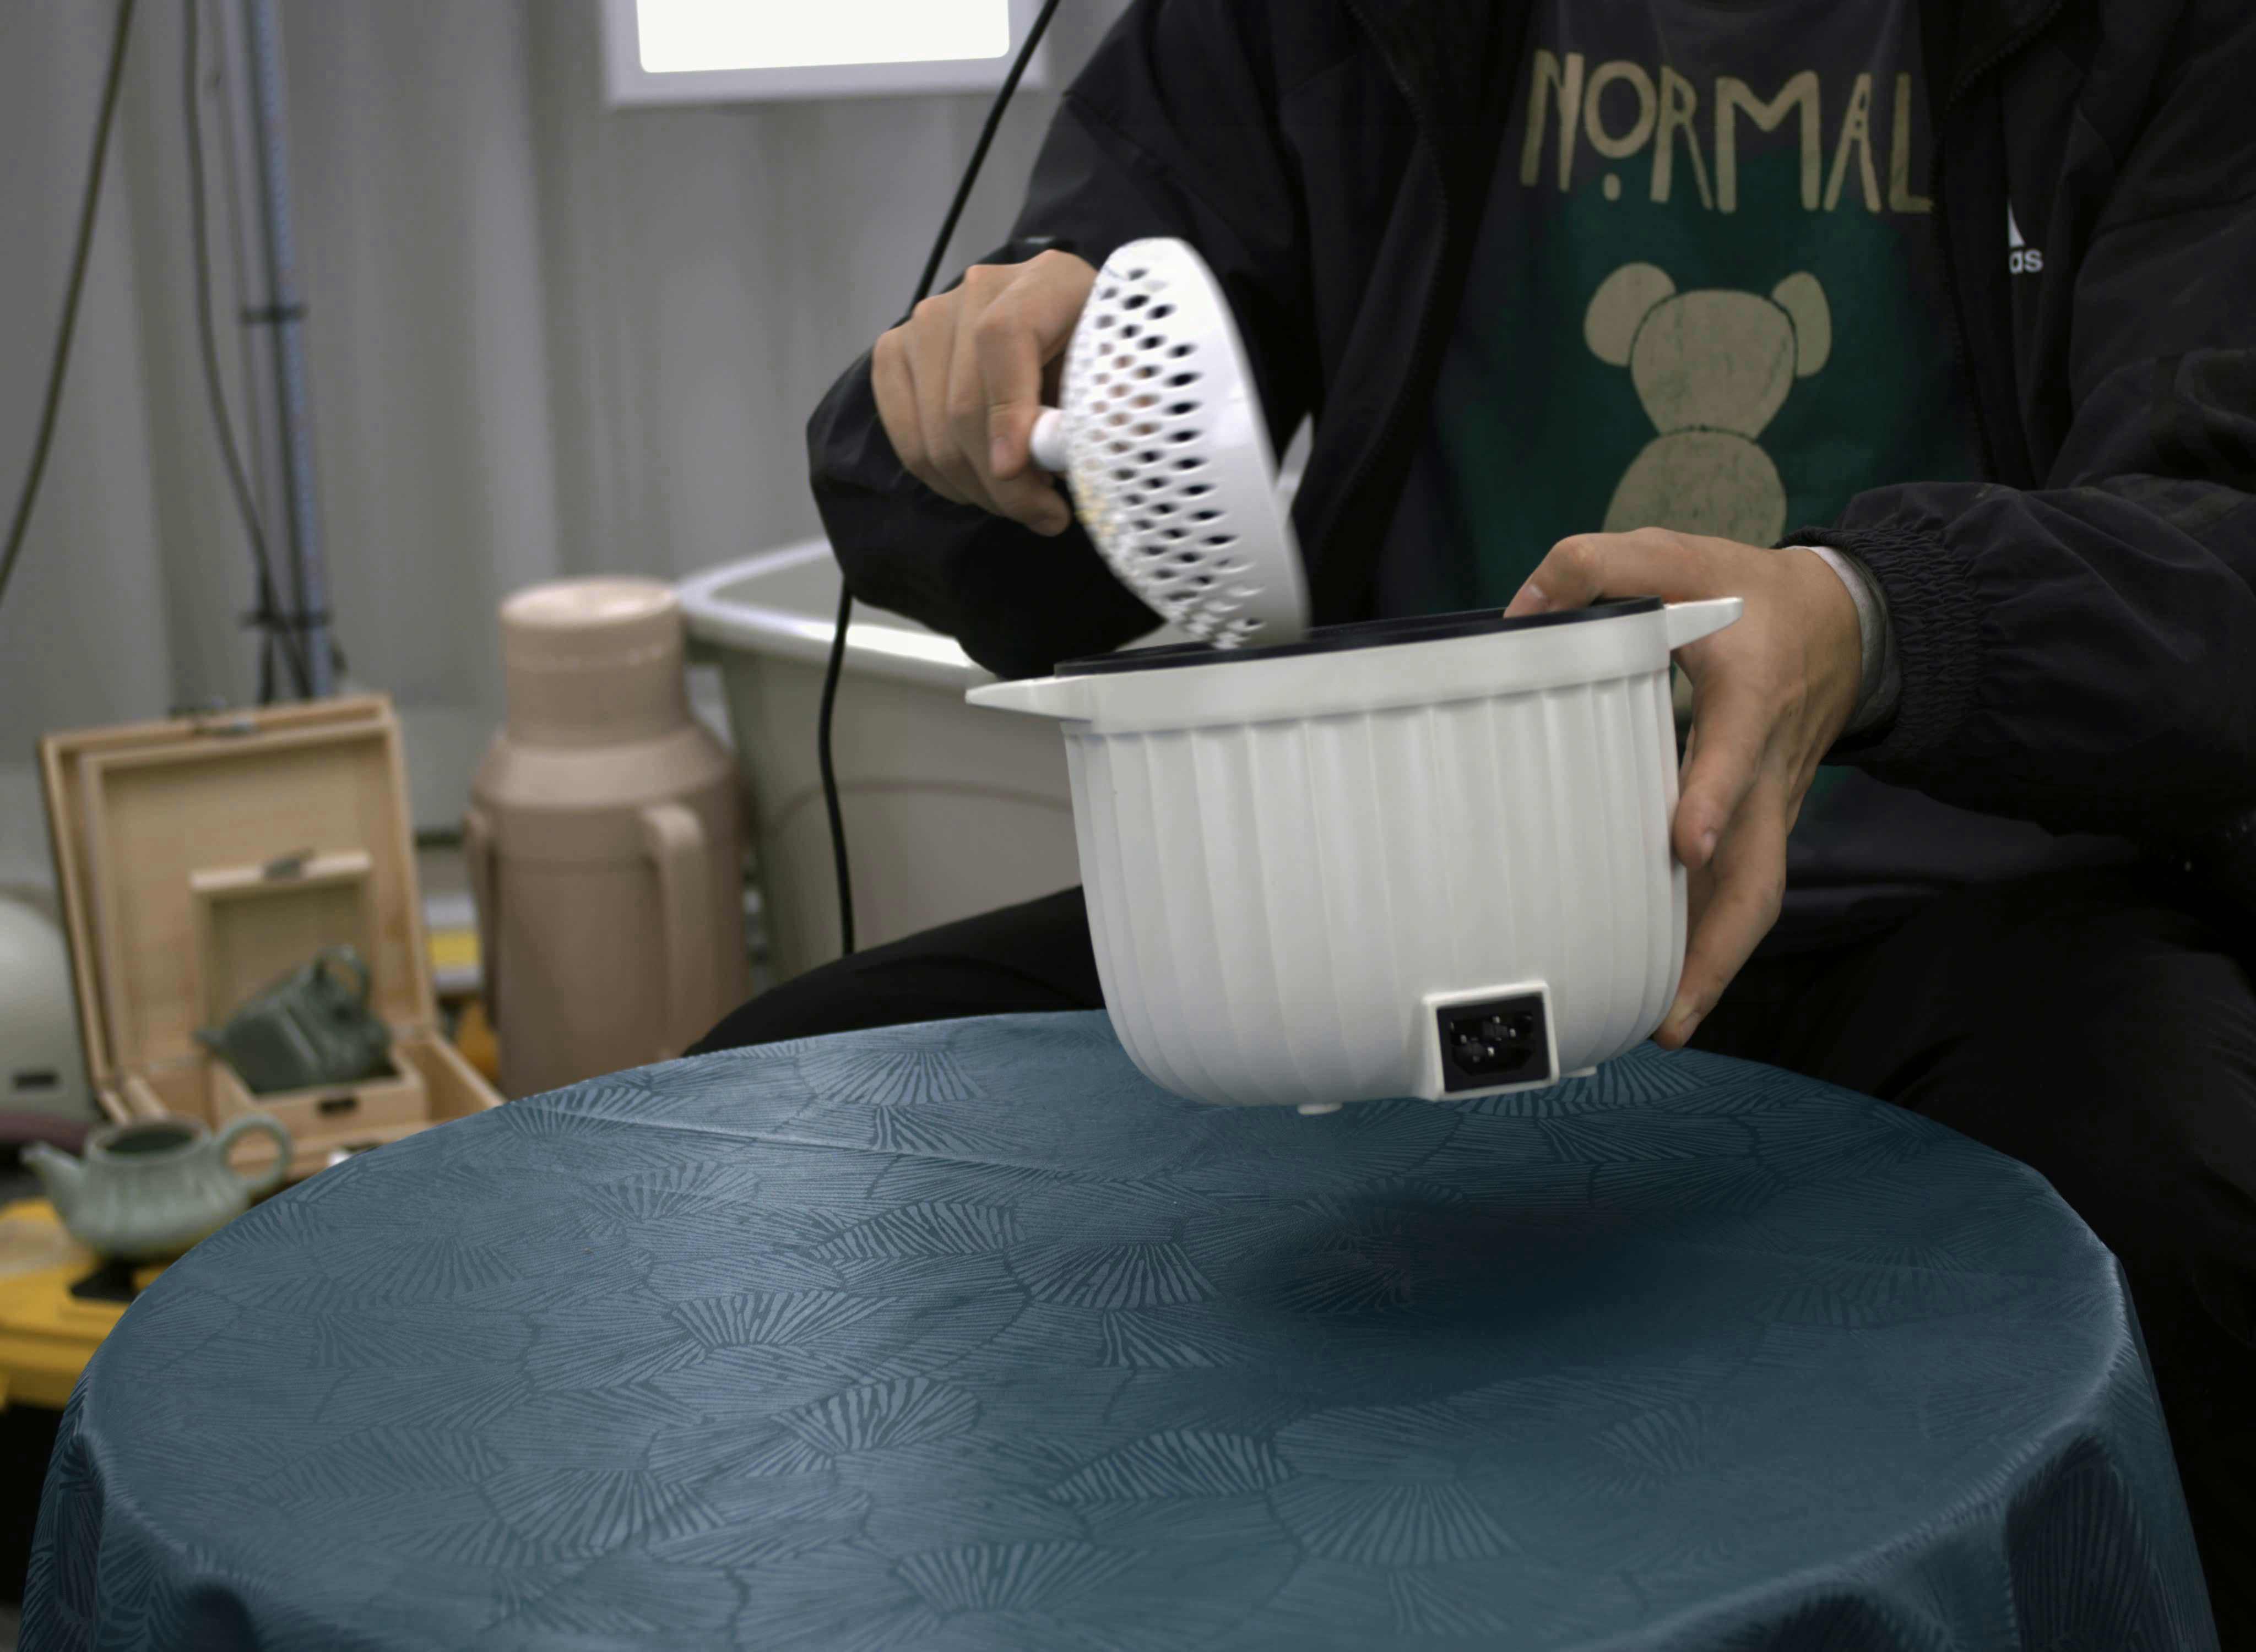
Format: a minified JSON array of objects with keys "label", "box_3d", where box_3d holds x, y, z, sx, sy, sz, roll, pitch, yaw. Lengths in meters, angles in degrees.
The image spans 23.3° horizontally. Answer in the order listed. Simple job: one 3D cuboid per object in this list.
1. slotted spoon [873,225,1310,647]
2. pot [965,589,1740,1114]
[{"label":"slotted spoon","box_3d":[-0.021,-0.117,1.708,0.050,0.136,0.349,-18,11,-11]},{"label":"pot","box_3d":[0.072,0.007,1.618,0.239,0.143,0.191,-6,6,-15]}]
